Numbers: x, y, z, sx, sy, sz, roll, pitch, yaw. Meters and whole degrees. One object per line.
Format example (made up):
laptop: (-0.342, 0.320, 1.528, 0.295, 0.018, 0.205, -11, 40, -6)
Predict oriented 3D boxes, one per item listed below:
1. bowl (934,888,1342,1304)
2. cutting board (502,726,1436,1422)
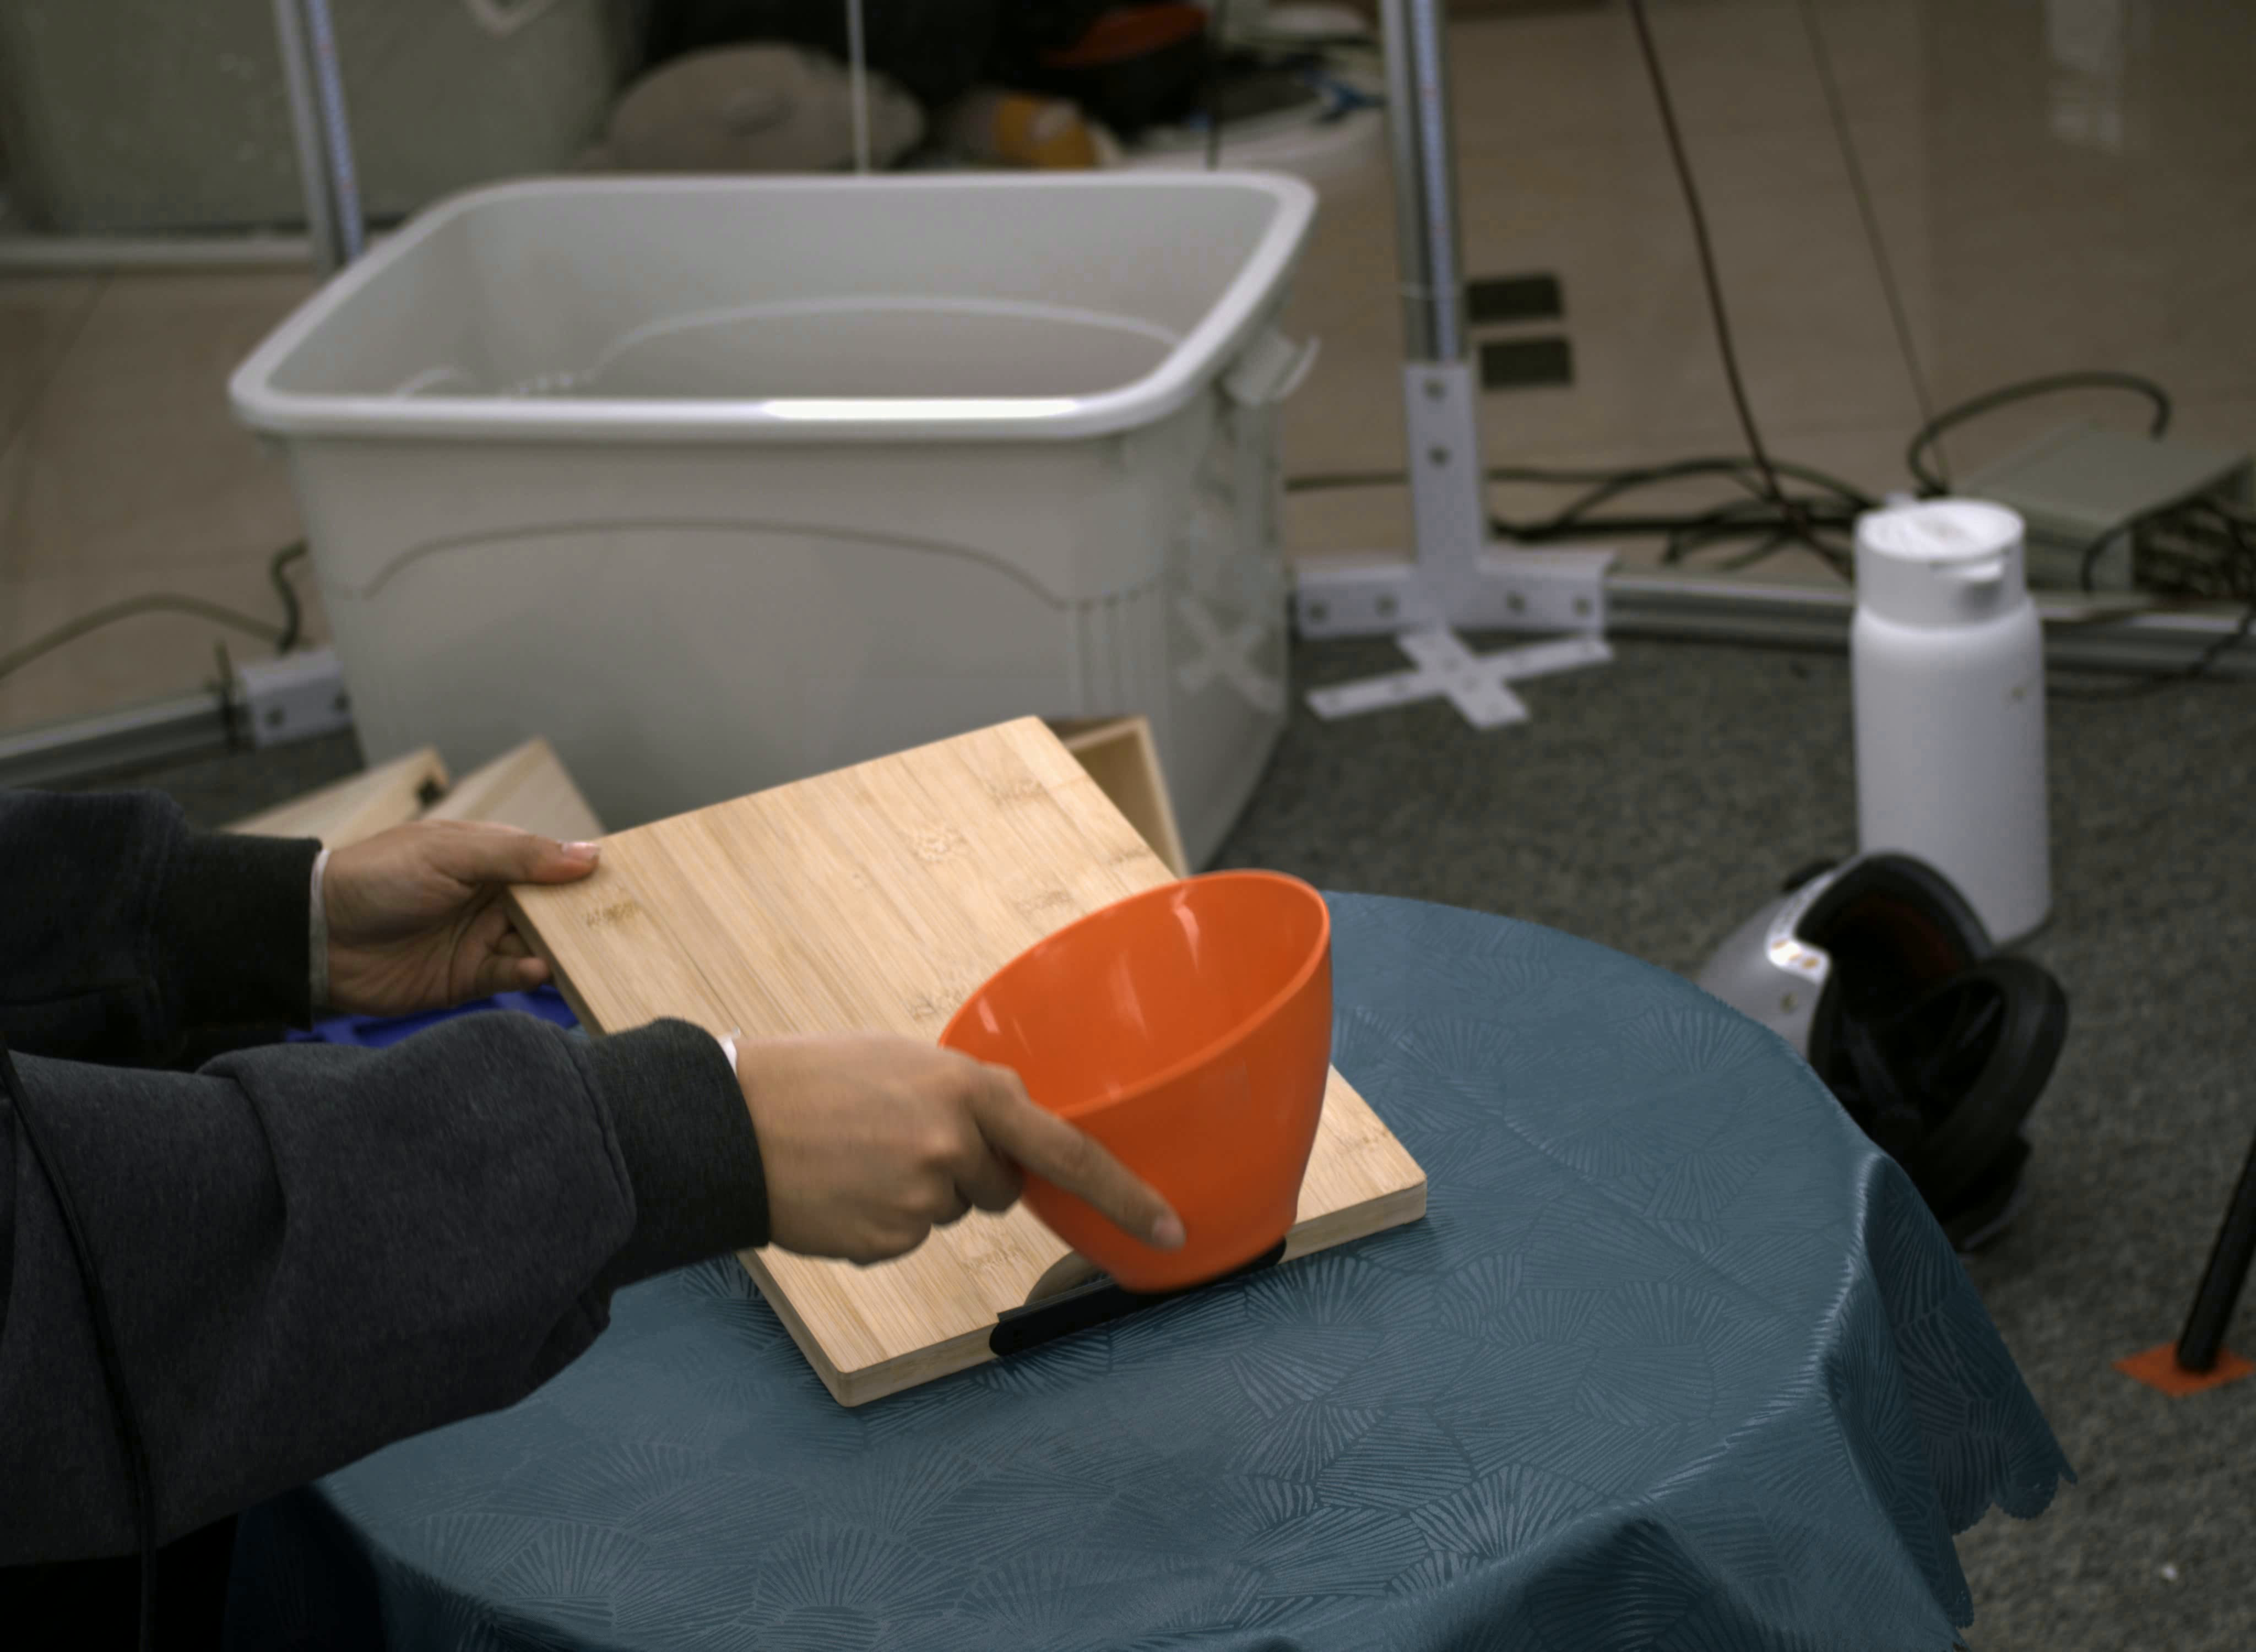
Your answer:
bowl: (0.014, 0.098, 1.940, 0.148, 0.106, 0.146, -16, 16, 5)
cutting board: (-0.068, 0.084, 2.175, 0.249, 0.024, 0.343, -17, 40, -21)
